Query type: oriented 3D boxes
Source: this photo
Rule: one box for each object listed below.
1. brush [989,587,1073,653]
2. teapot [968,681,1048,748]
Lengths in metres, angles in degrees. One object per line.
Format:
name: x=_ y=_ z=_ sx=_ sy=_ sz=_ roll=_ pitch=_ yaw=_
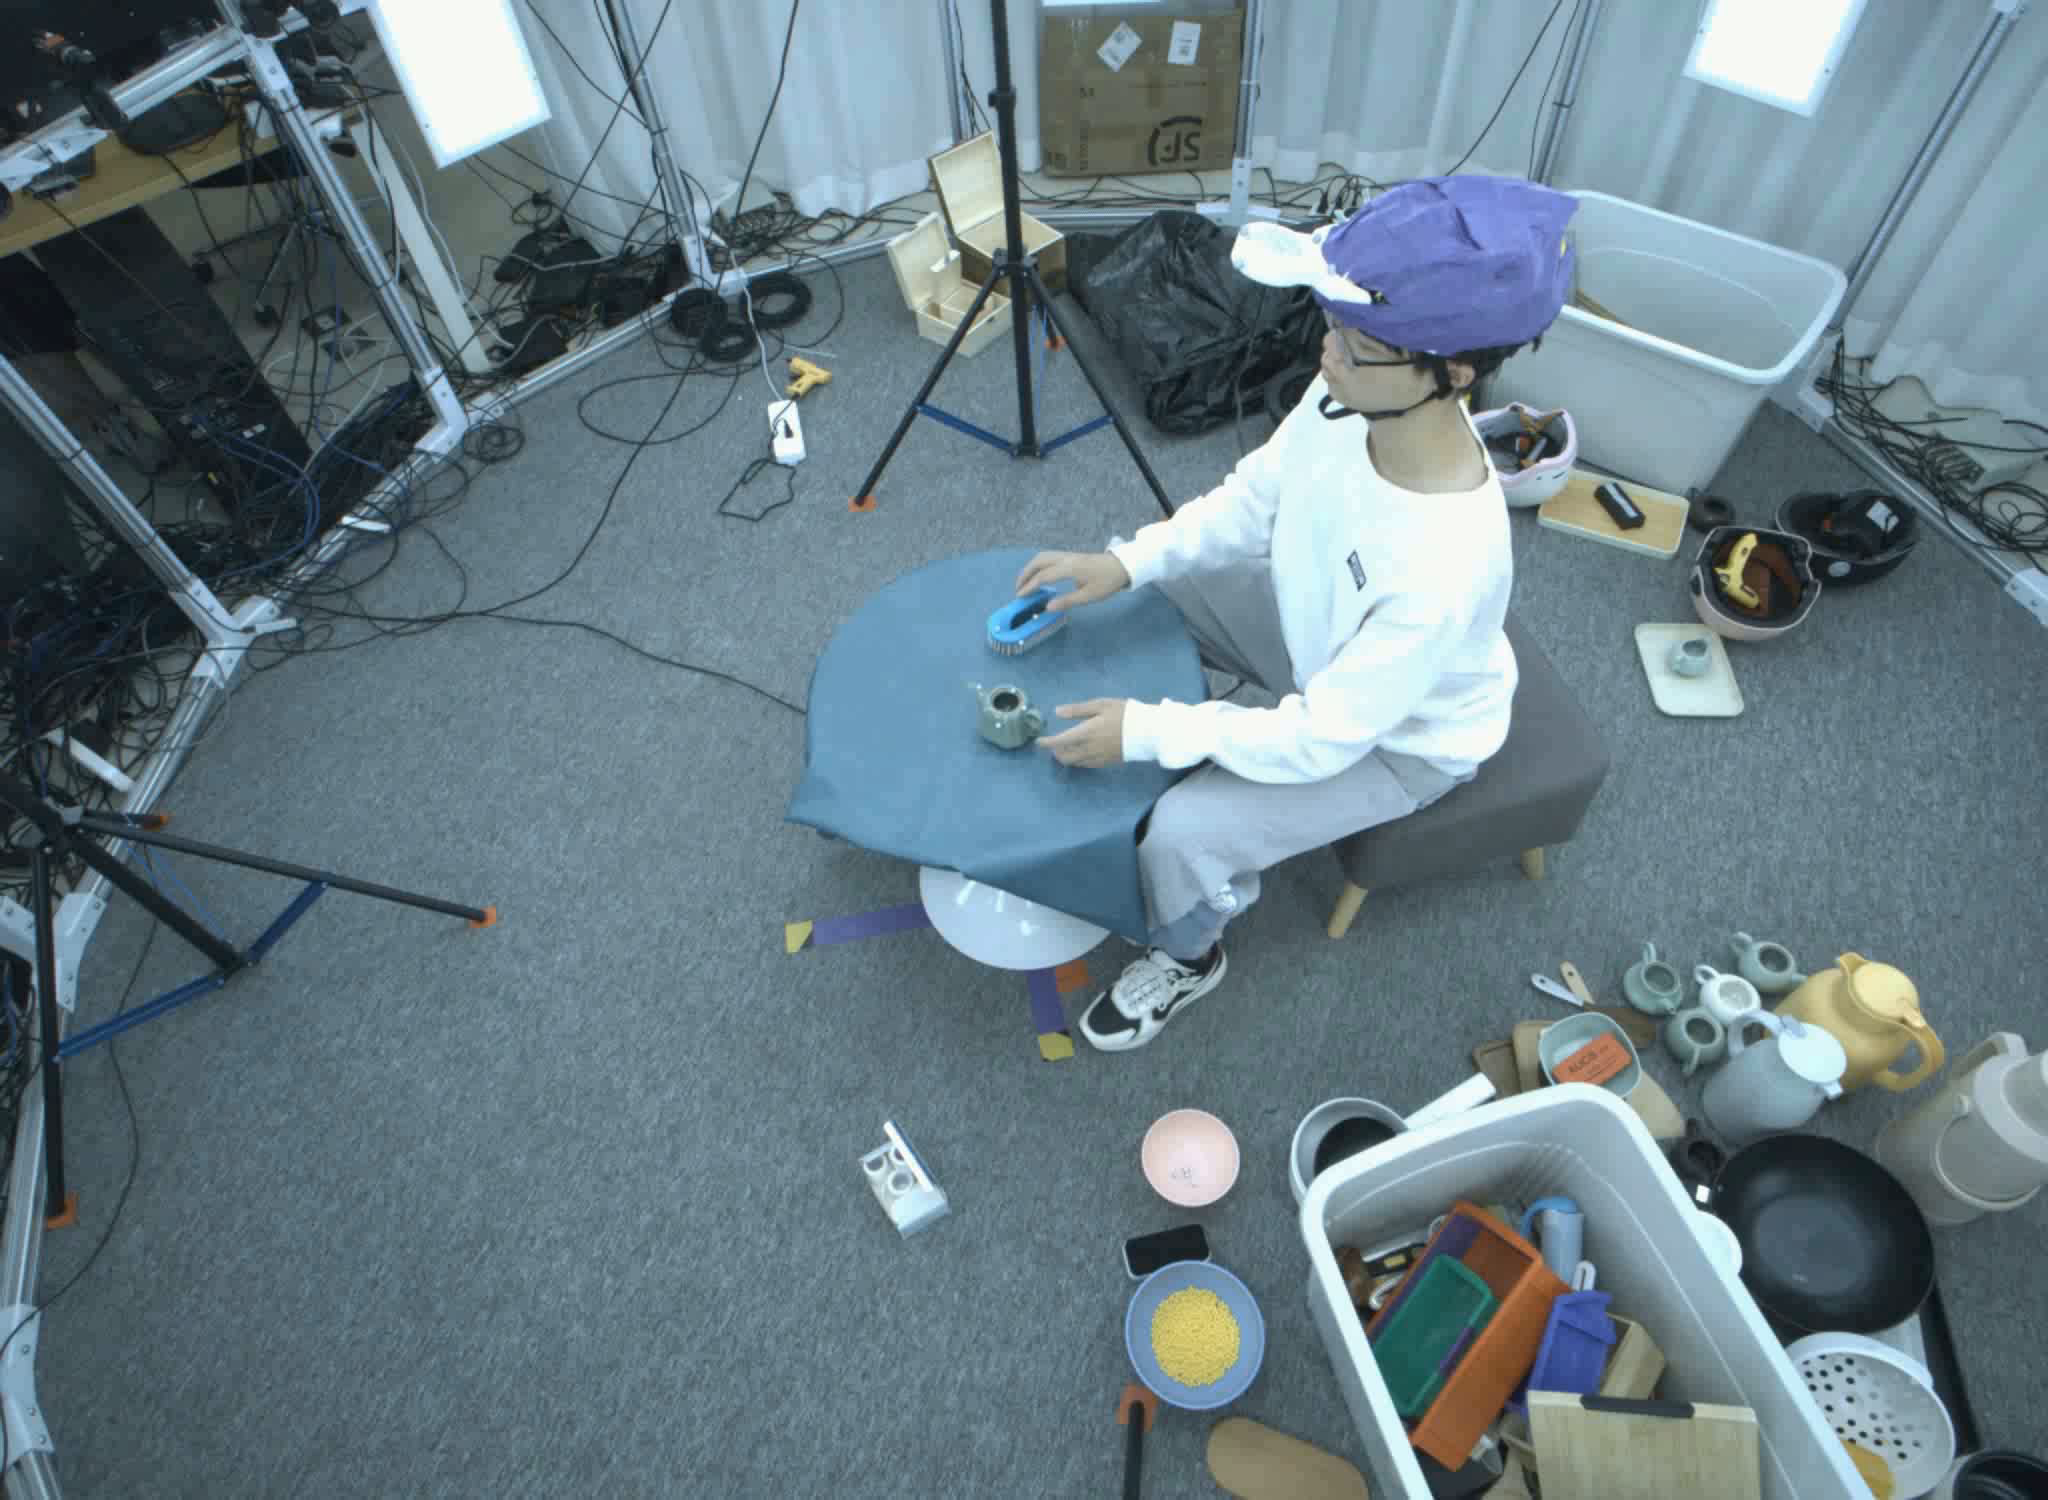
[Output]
brush: x=0.006 y=-0.213 z=1.897 sx=0.143 sy=0.064 sz=0.082 roll=-31 pitch=54 yaw=-20
teapot: x=-0.023 y=-0.052 z=1.778 sx=0.130 sy=0.076 sz=0.080 roll=26 pitch=60 yaw=19
